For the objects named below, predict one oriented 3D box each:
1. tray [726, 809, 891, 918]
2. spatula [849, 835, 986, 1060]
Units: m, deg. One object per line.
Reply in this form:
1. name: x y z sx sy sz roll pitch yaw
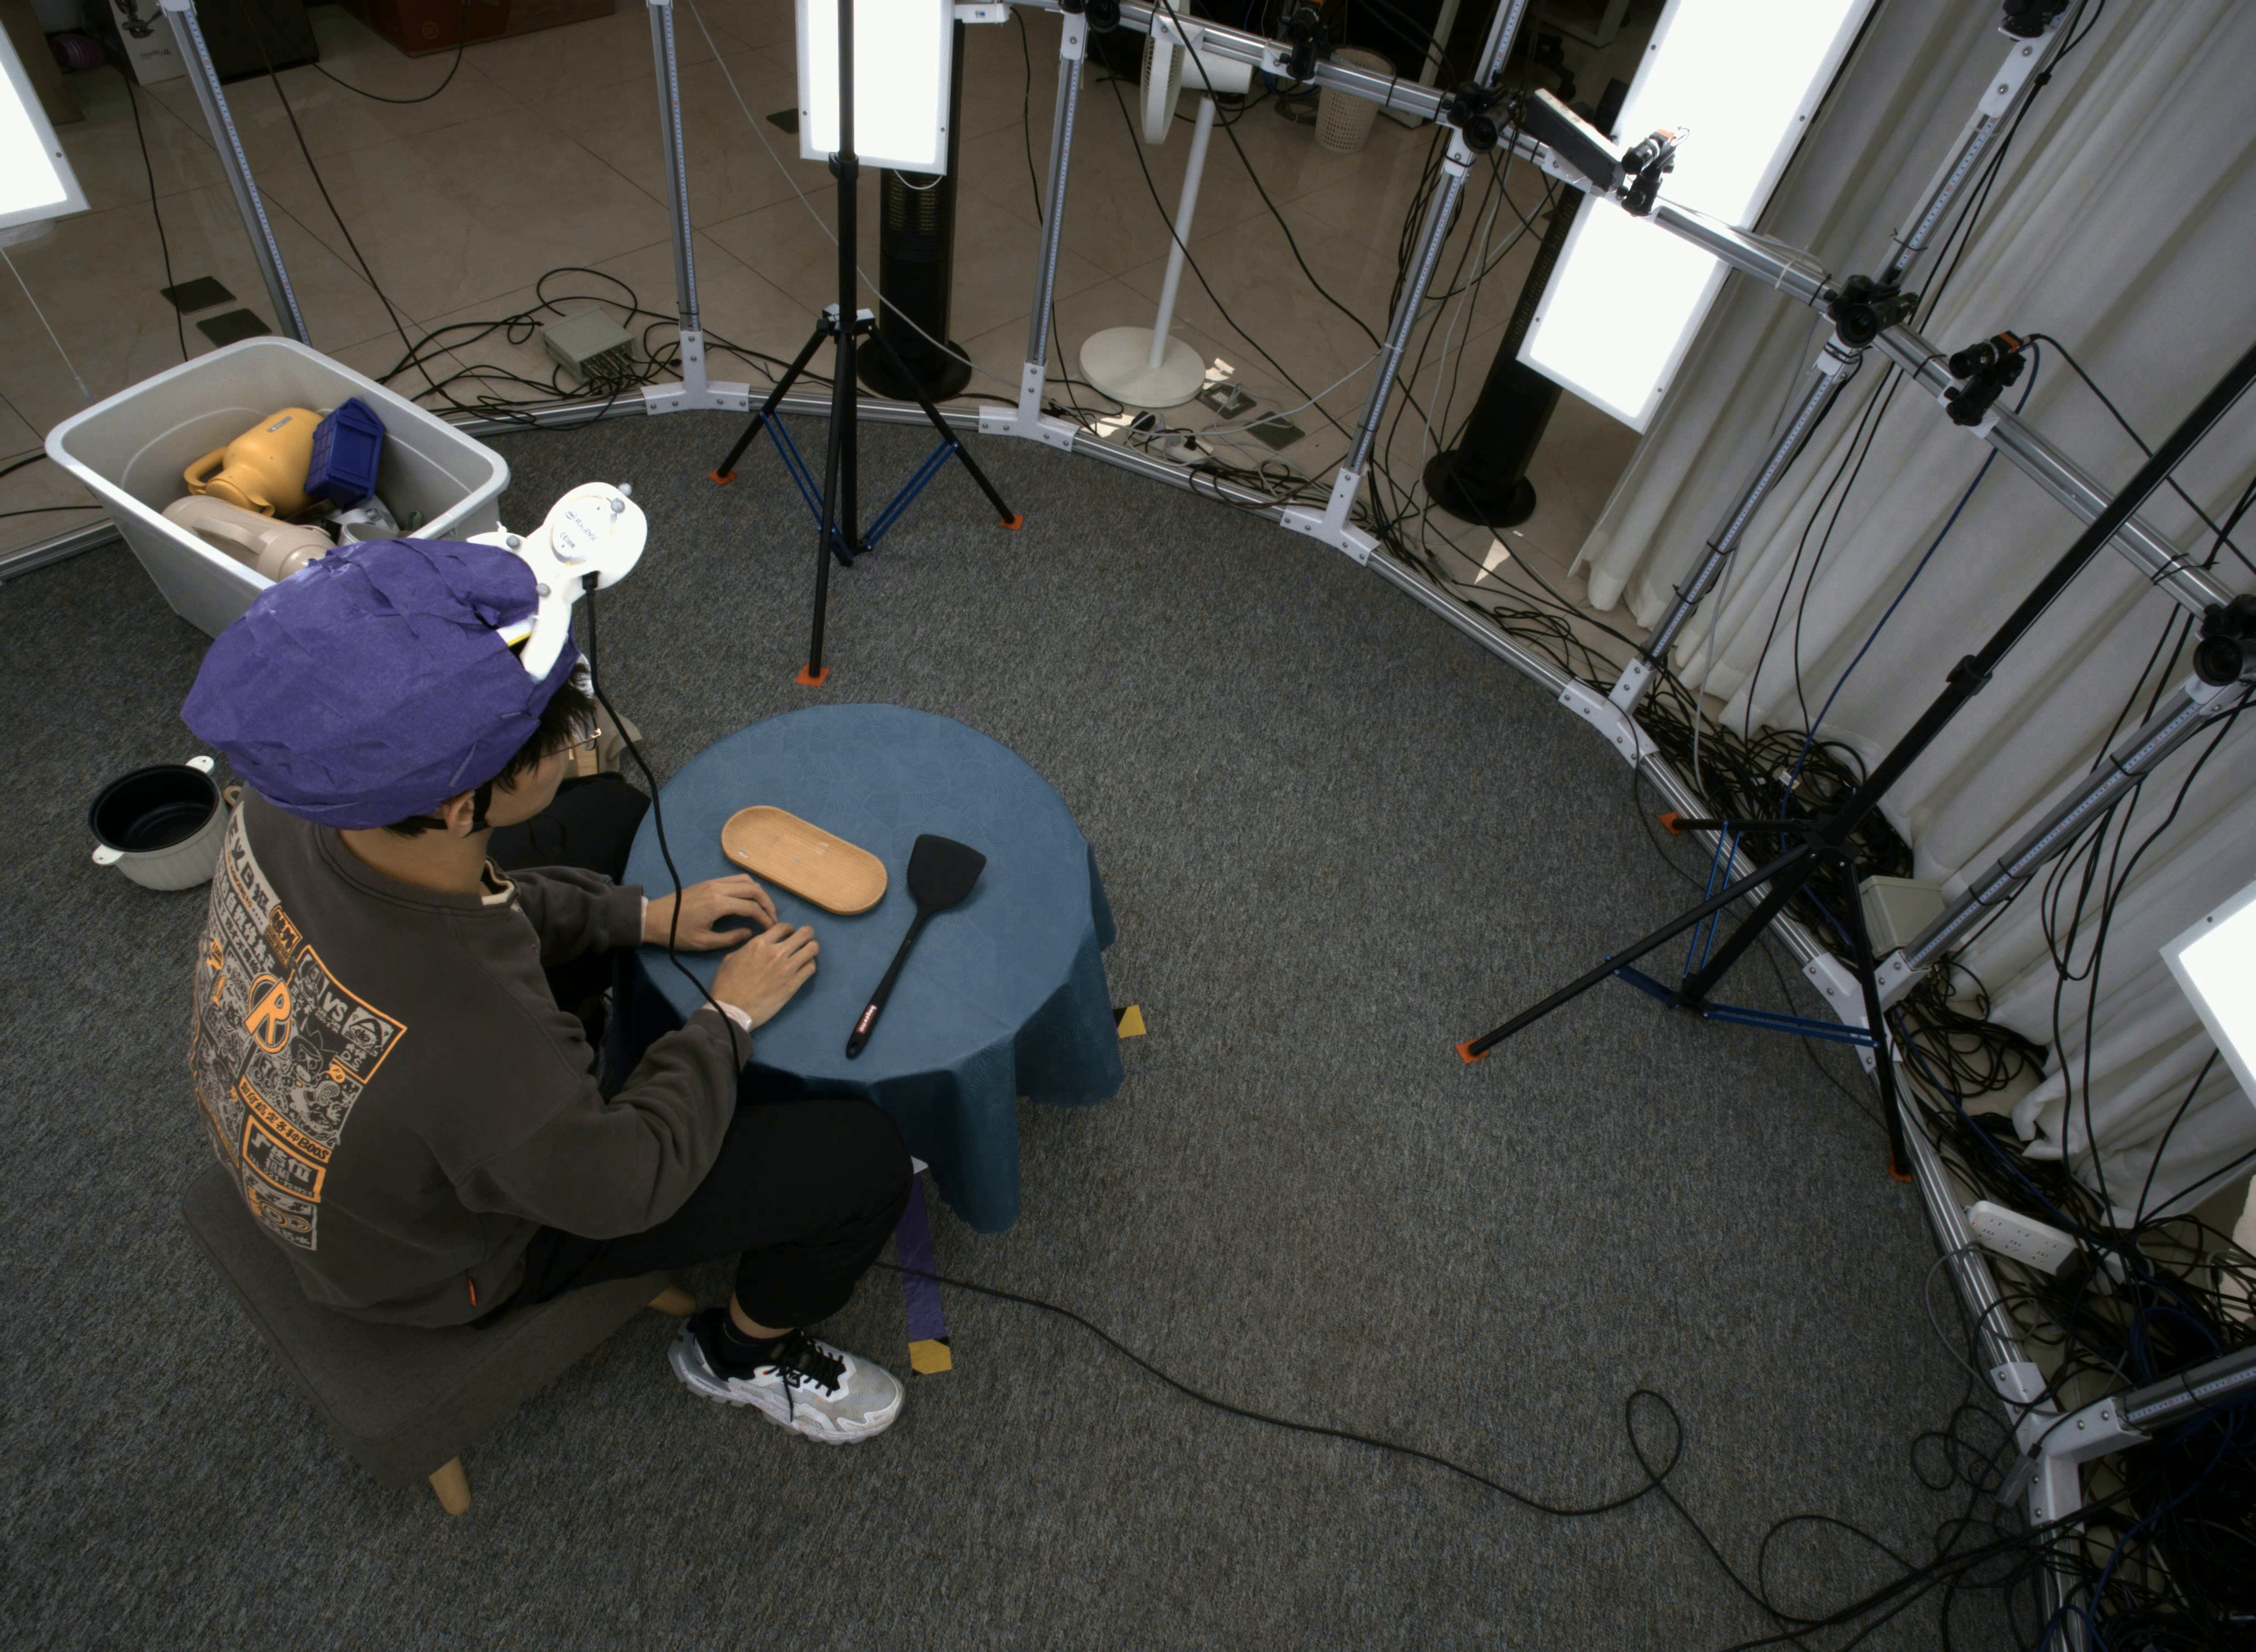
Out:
1. tray: -0.418 0.047 1.696 0.228 0.021 0.101 26 53 4
2. spatula: -0.279 0.150 1.640 0.098 0.041 0.323 20 52 3
